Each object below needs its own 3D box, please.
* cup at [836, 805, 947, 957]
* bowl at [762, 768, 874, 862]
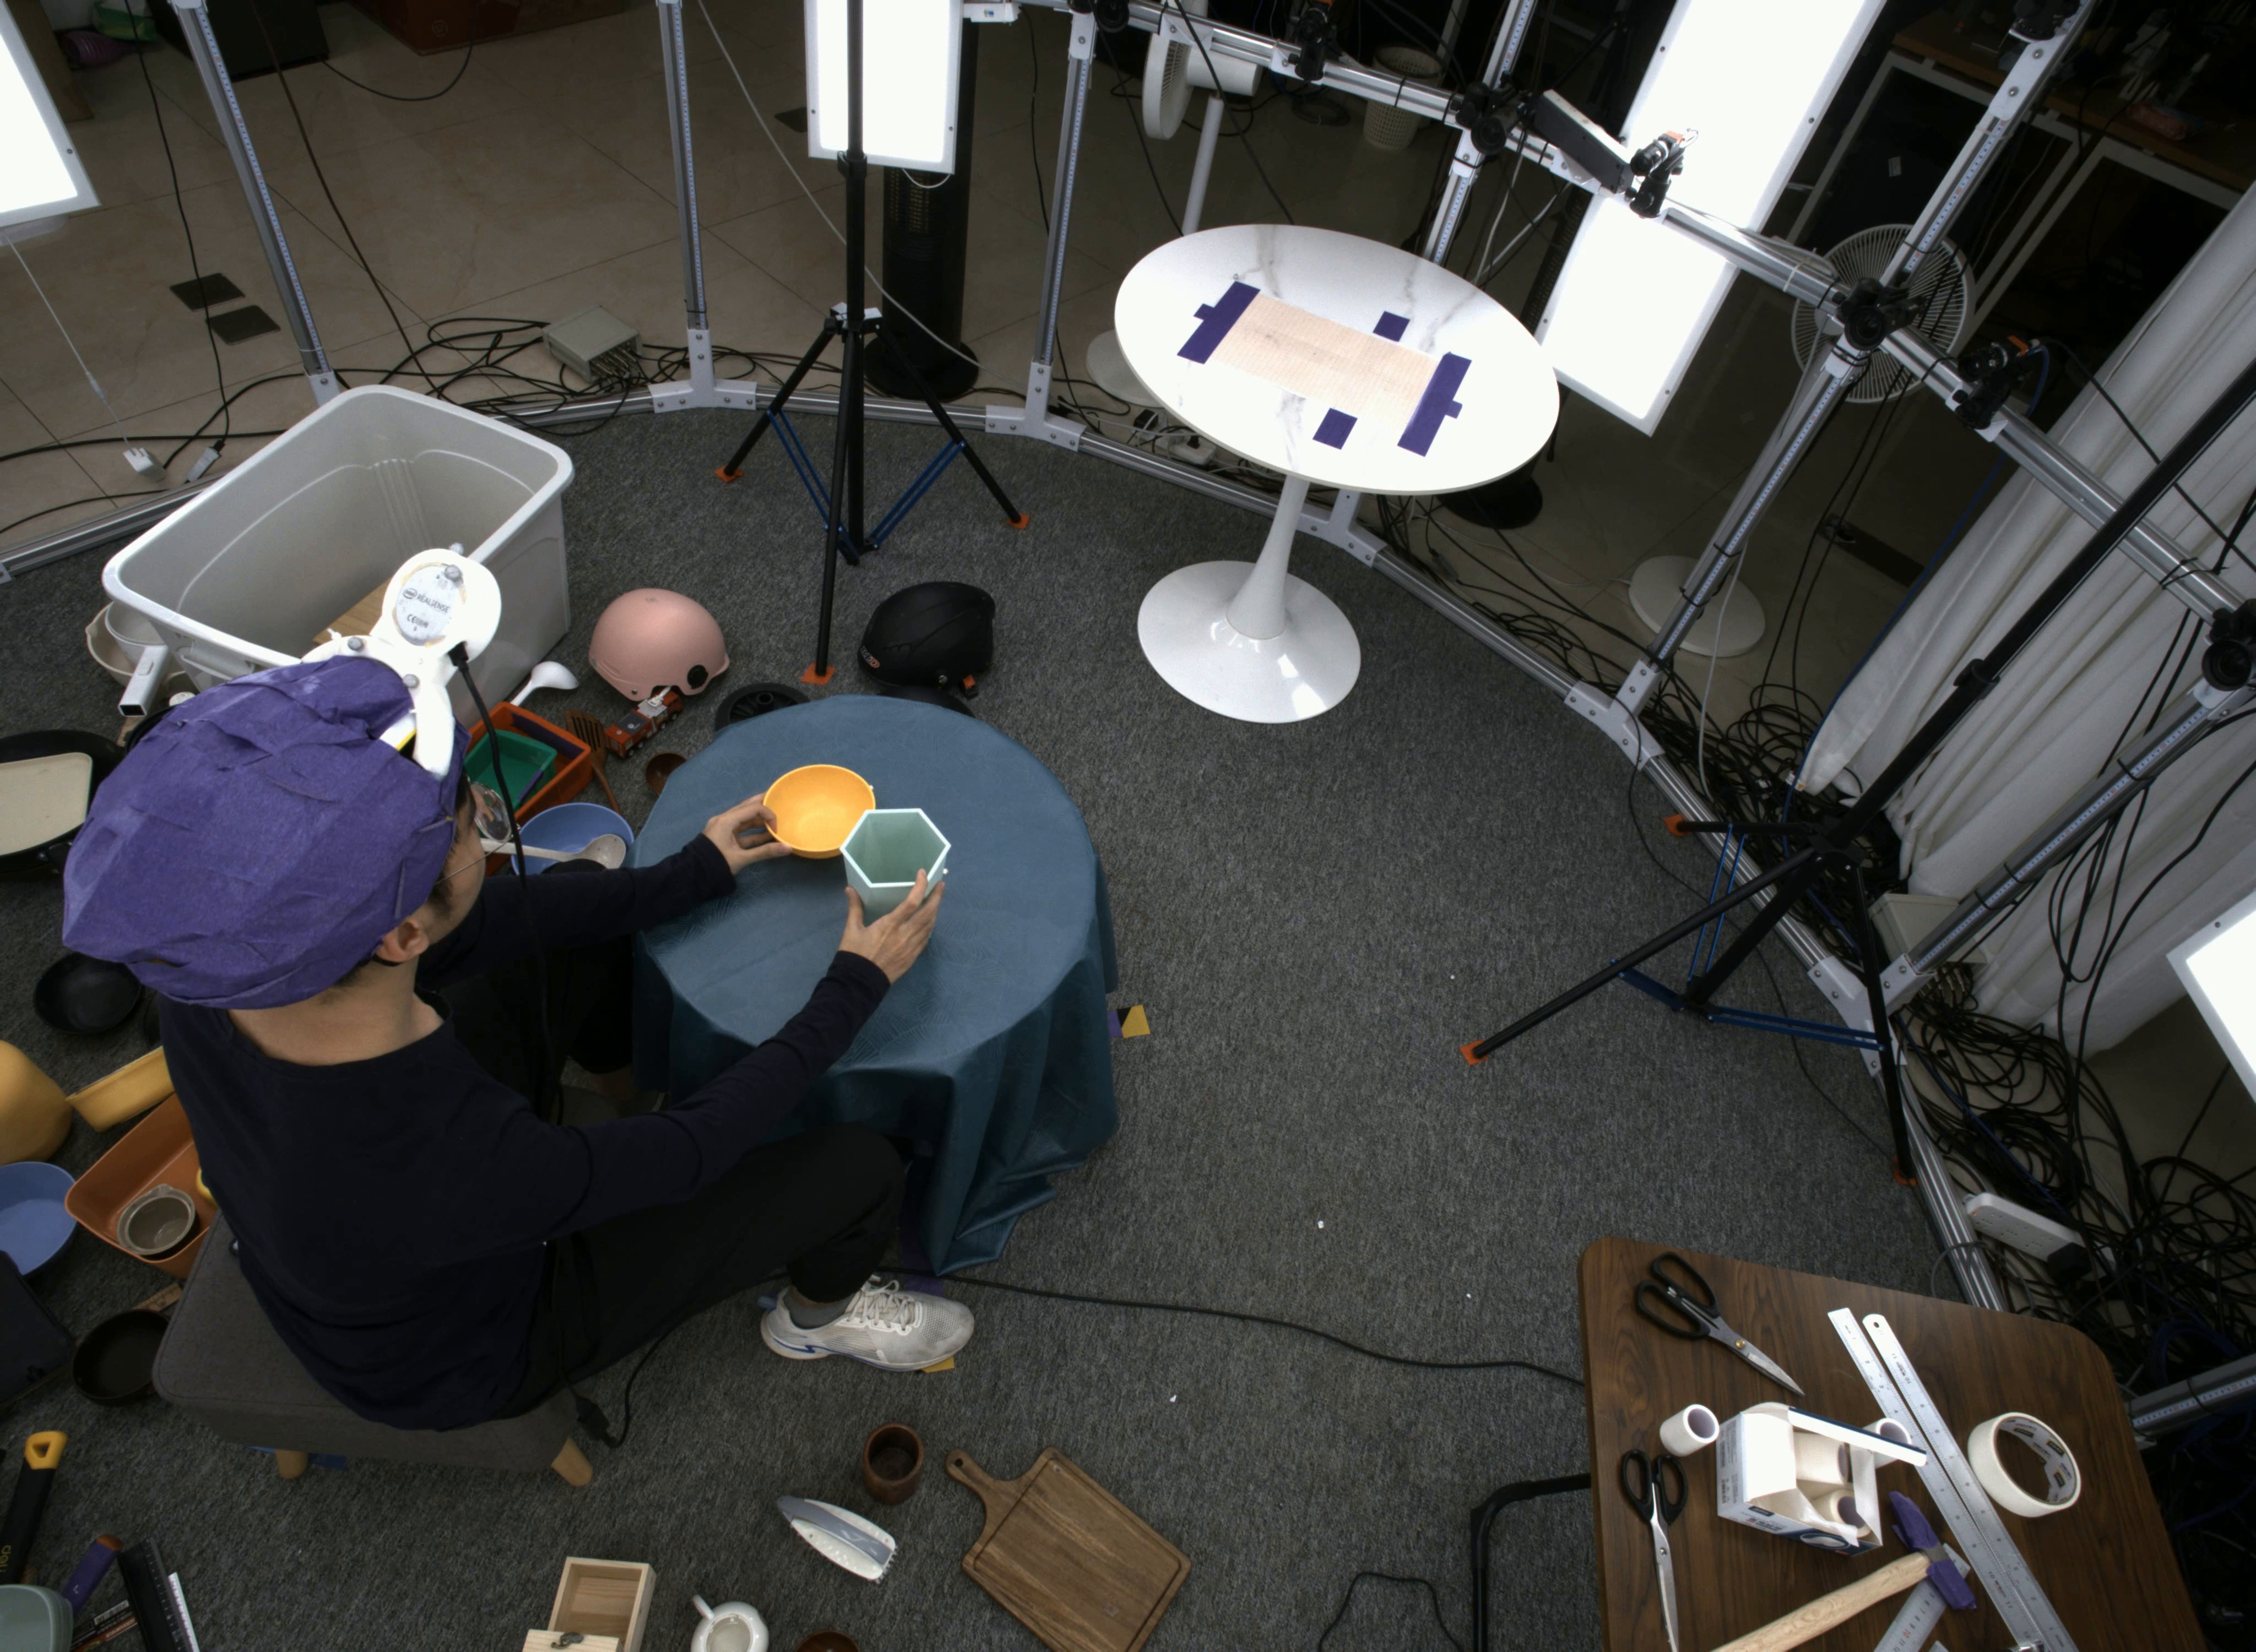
[{"bbox_3d":[-0.289,0.070,1.601,0.115,0.166,0.128,-32,64,-29],"label":"cup"},{"bbox_3d":[-0.402,-0.004,1.698,0.144,0.062,0.142,4,52,-3],"label":"bowl"}]
